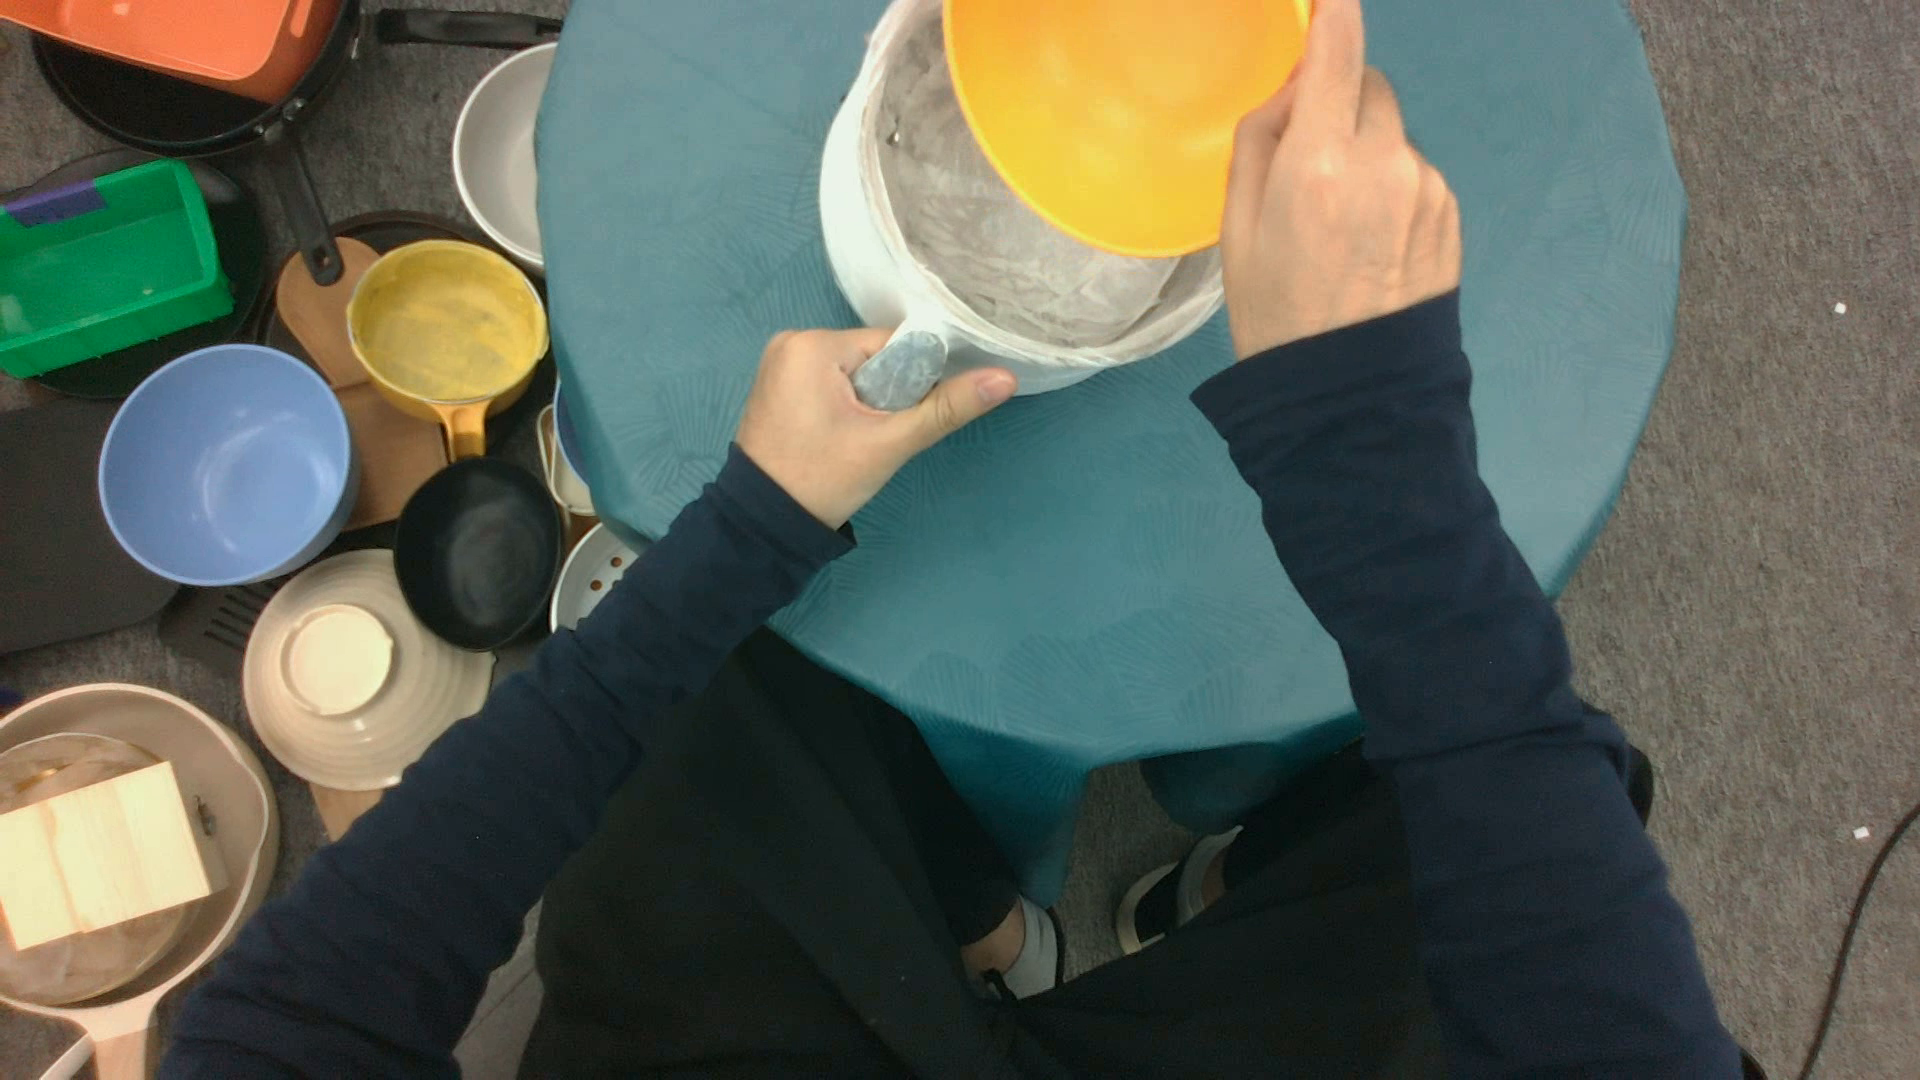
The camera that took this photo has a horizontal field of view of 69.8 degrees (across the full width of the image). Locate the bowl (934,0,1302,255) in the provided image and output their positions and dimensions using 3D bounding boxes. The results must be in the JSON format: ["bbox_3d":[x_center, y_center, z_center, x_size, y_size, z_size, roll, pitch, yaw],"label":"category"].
[{"bbox_3d":[0.064,-0.180,0.492,0.145,0.144,0.060,47,50,5],"label":"bowl"}]

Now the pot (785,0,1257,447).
[{"bbox_3d":[0.008,-0.141,0.612,0.178,0.136,0.234,37,83,-12],"label":"pot"}]
